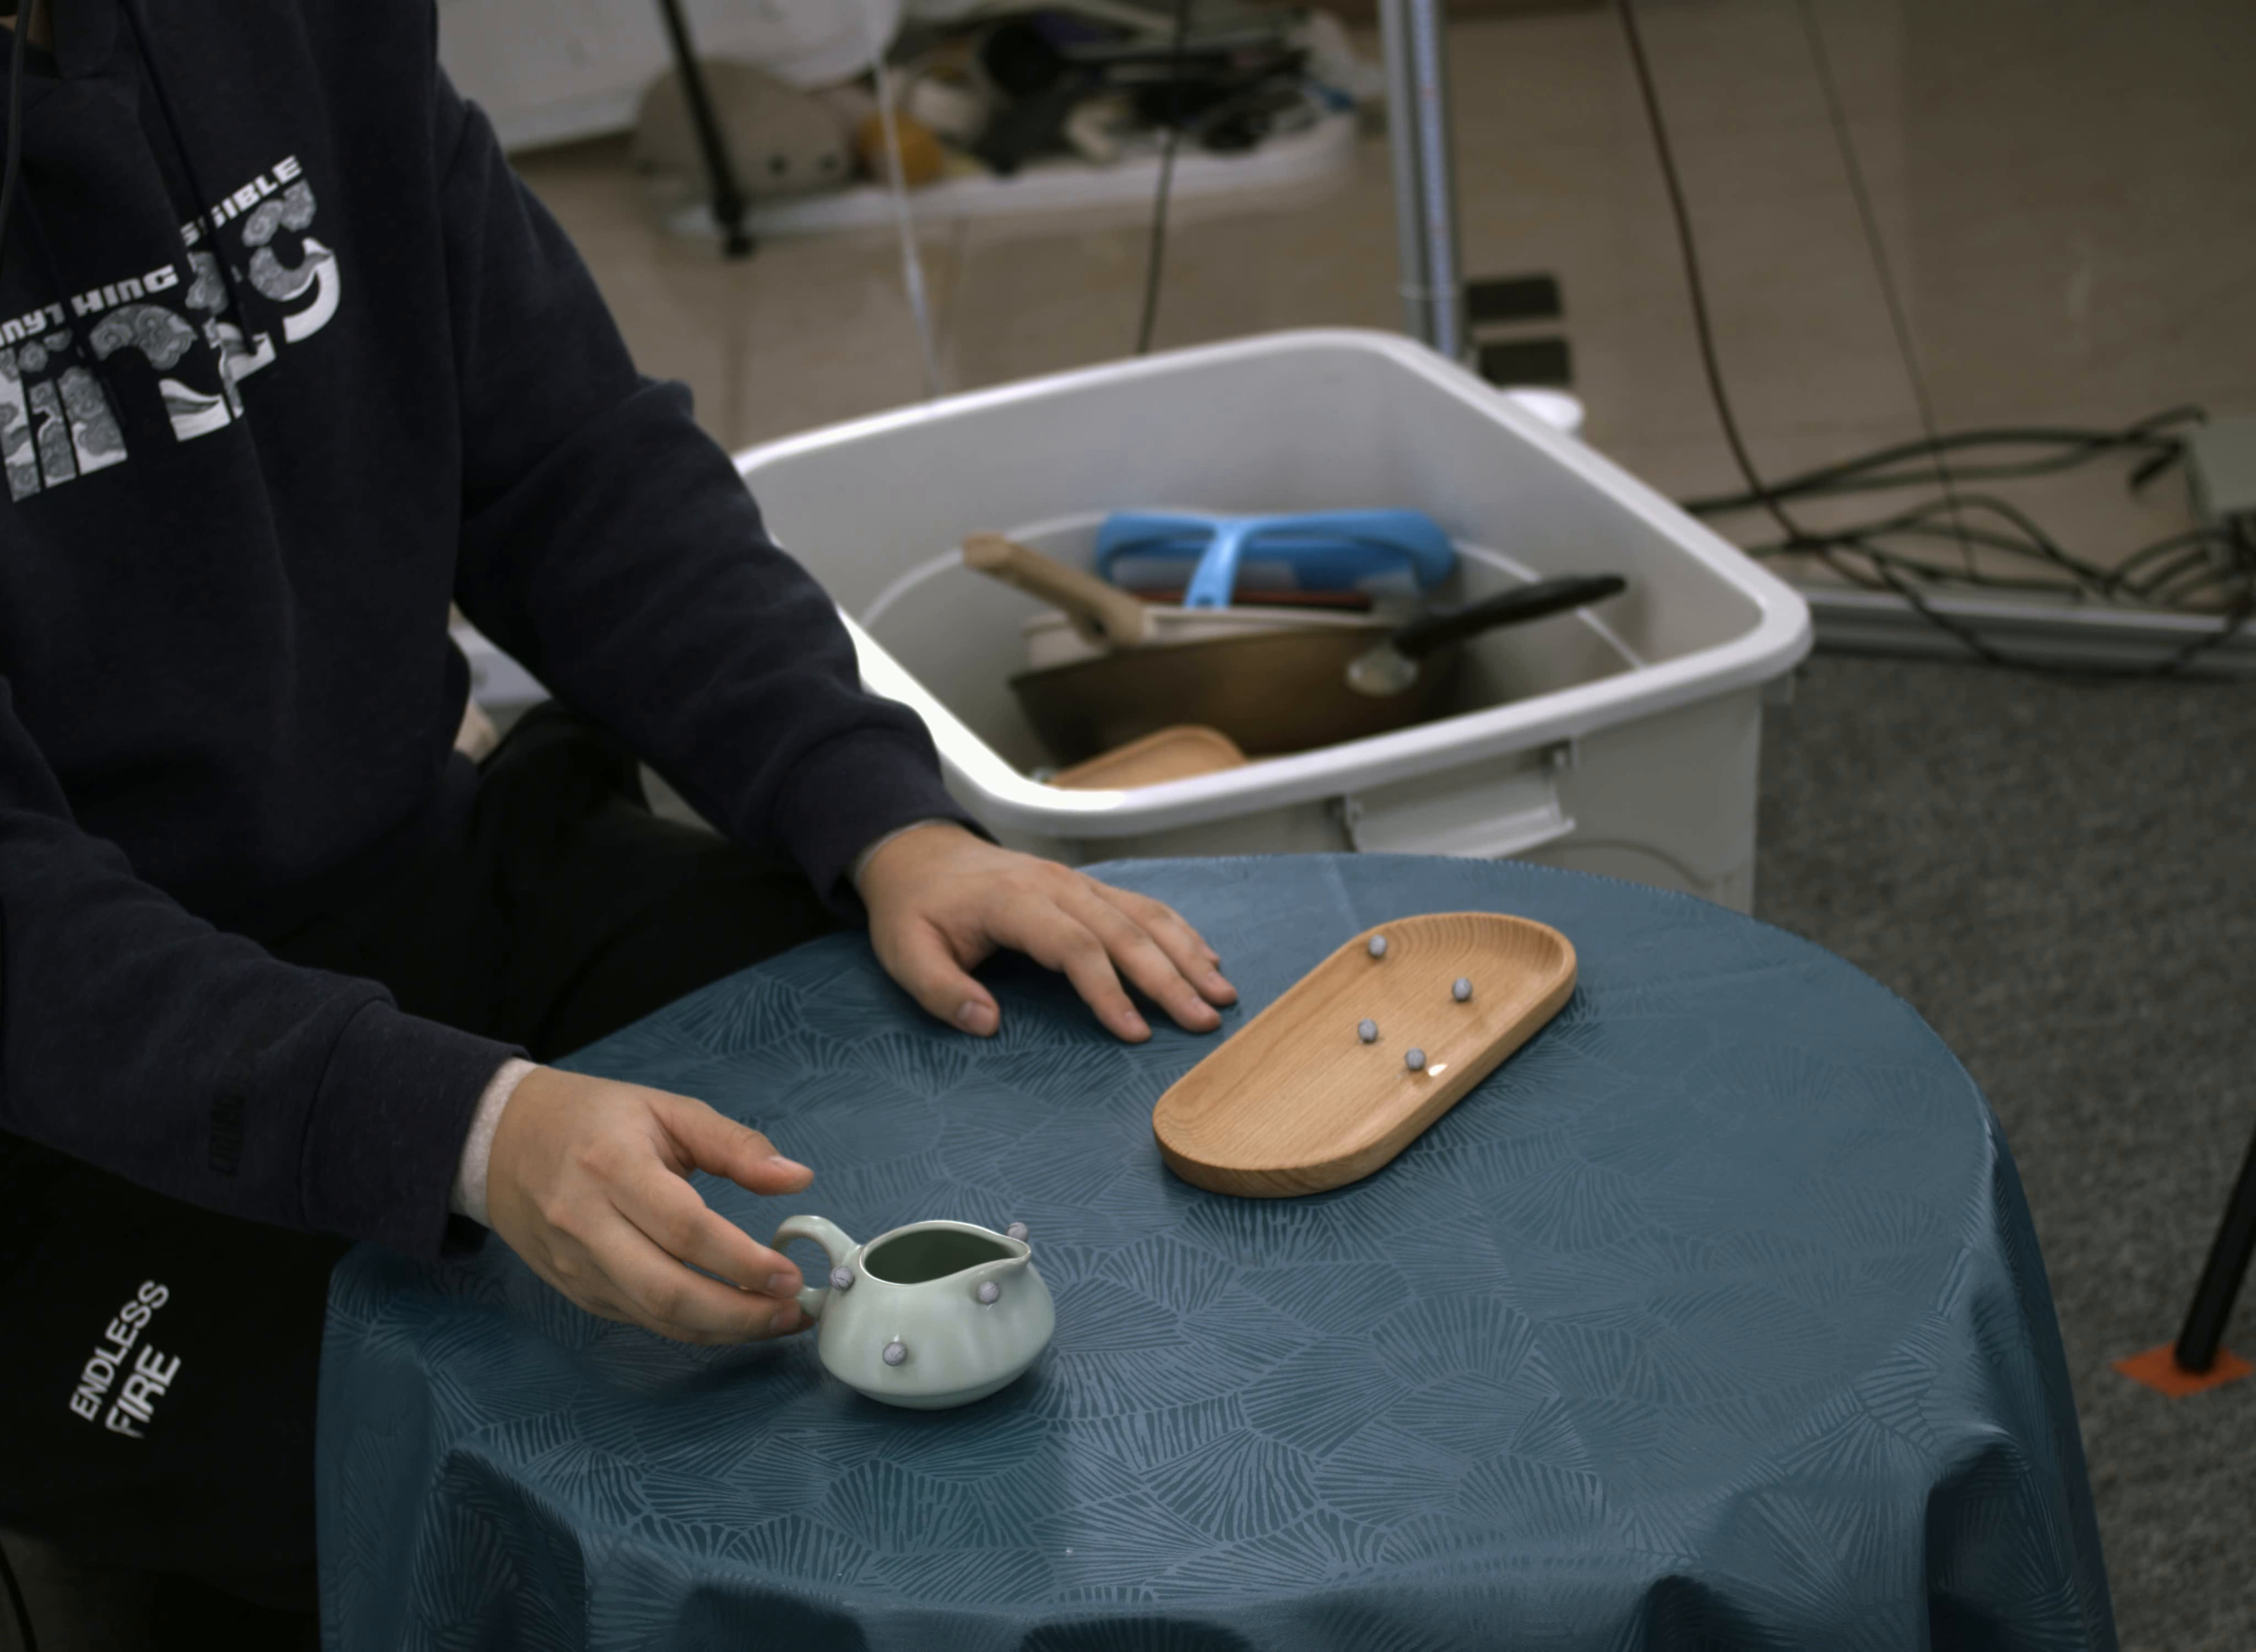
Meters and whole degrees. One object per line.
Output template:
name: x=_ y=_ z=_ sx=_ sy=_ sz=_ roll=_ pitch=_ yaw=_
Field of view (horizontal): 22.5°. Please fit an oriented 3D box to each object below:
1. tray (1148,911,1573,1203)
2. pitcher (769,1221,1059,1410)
tray: x=0.093 y=0.089 z=2.216 sx=0.101 sy=0.020 sz=0.228 roll=8 pitch=30 yaw=32
pitcher: x=-0.079 y=0.172 z=2.029 sx=0.108 sy=0.061 sz=0.085 roll=2 pitch=25 yaw=23
